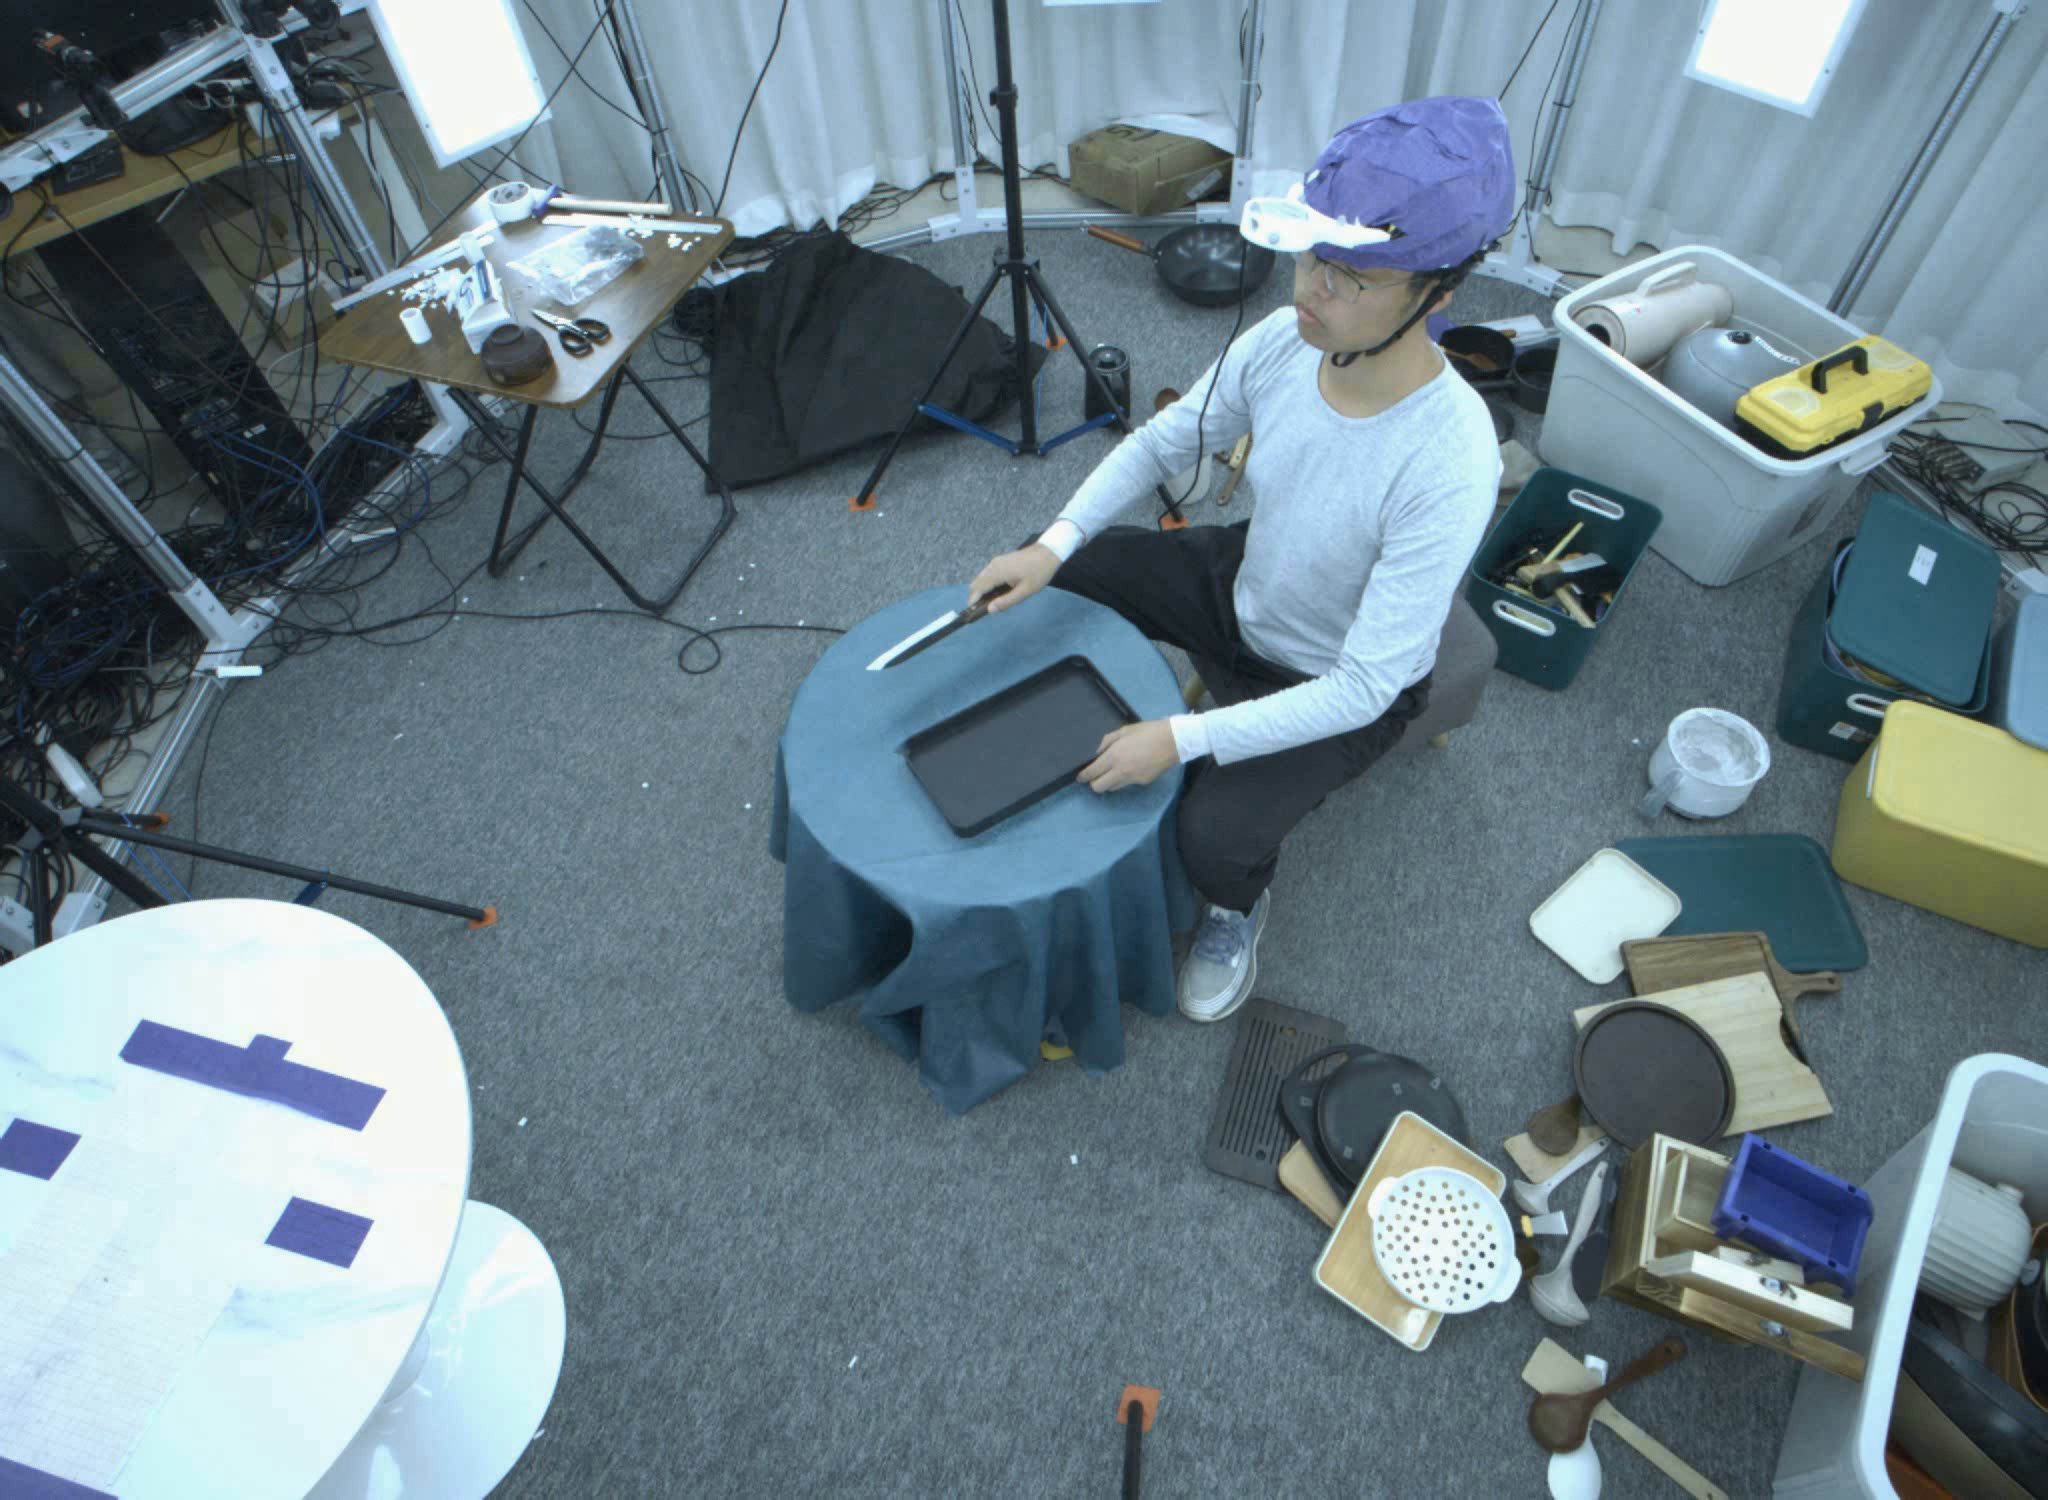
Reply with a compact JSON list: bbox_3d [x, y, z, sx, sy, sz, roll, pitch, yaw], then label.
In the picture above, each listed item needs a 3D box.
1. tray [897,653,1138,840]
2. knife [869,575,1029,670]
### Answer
[{"bbox_3d":[-0.008,-0.010,1.780,0.320,0.037,0.181,-30,59,-19],"label":"tray"},{"bbox_3d":[-0.110,-0.188,1.816,0.291,0.020,0.049,-33,42,-23],"label":"knife"}]
